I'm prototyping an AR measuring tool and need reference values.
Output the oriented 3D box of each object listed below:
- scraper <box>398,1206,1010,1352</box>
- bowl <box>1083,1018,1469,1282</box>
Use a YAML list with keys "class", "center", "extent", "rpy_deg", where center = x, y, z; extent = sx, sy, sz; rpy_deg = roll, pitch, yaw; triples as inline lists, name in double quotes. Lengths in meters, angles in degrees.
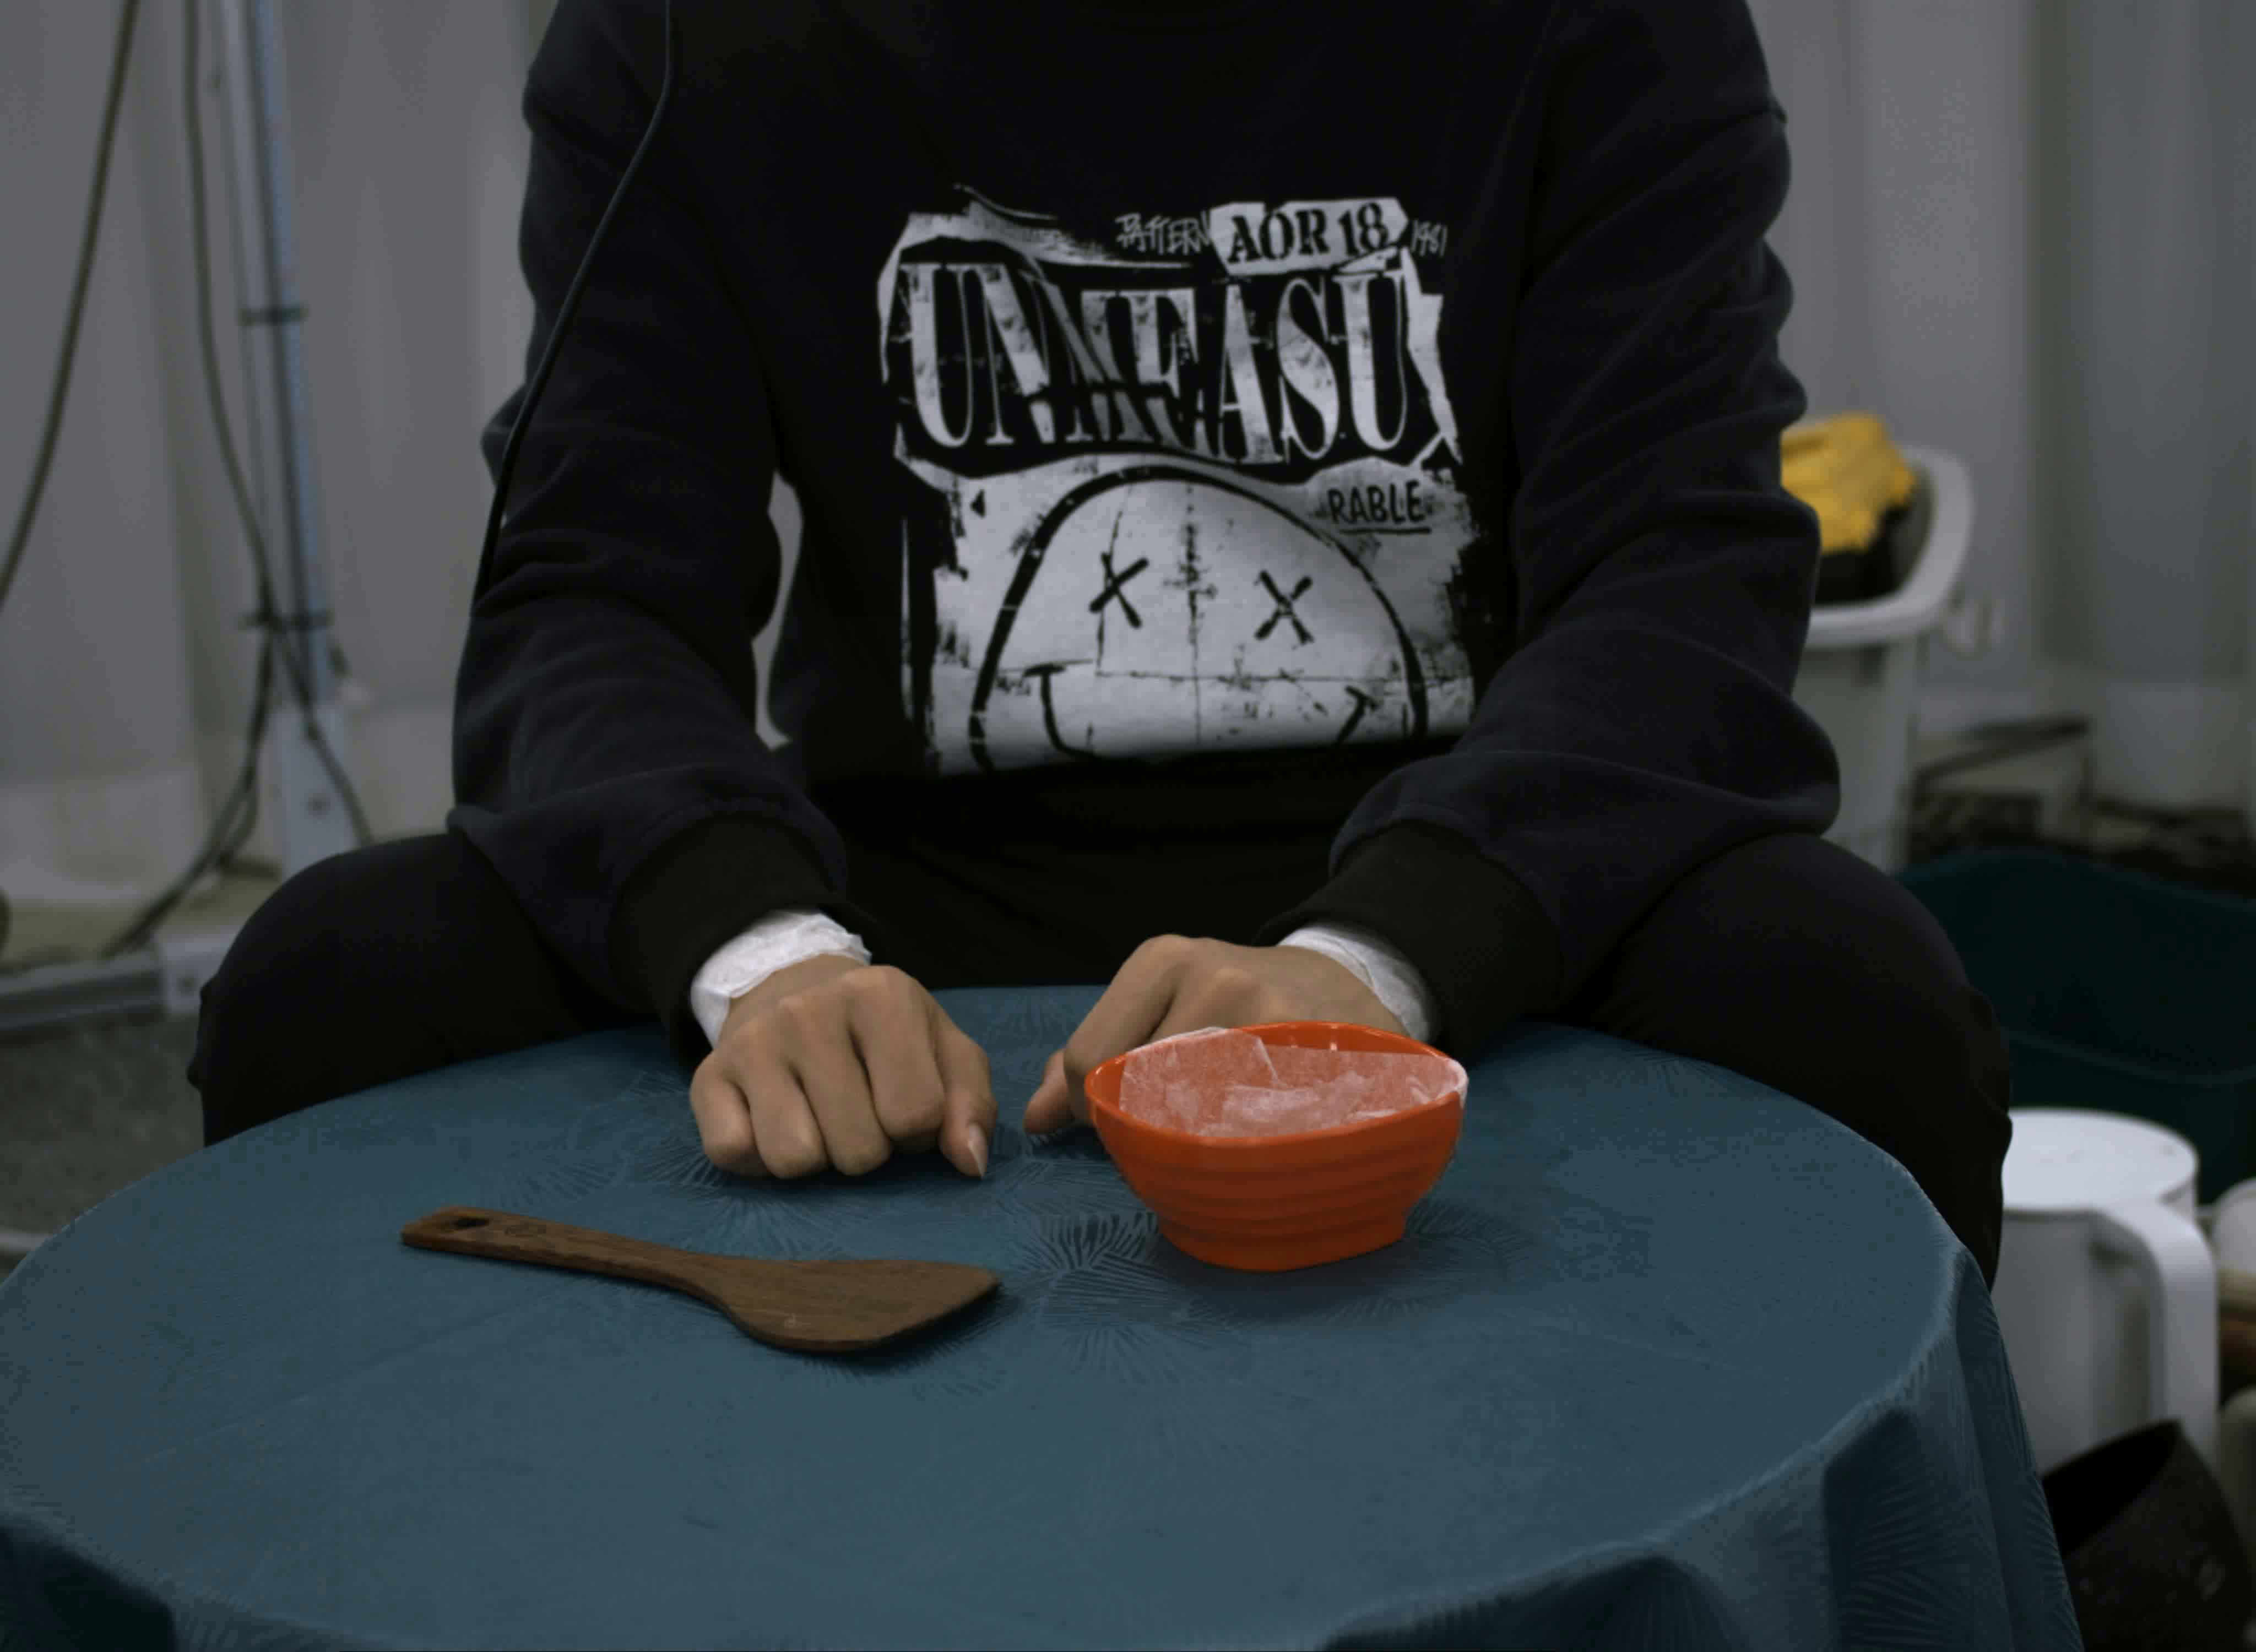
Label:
- class: "scraper"
  center: [-0.135, 0.134, 1.652]
  extent: [0.212, 0.011, 0.076]
  rpy_deg: [7, 16, 34]
- class: "bowl"
  center: [0.046, 0.101, 1.664]
  extent: [0.118, 0.051, 0.120]
  rpy_deg: [-4, 17, 1]
